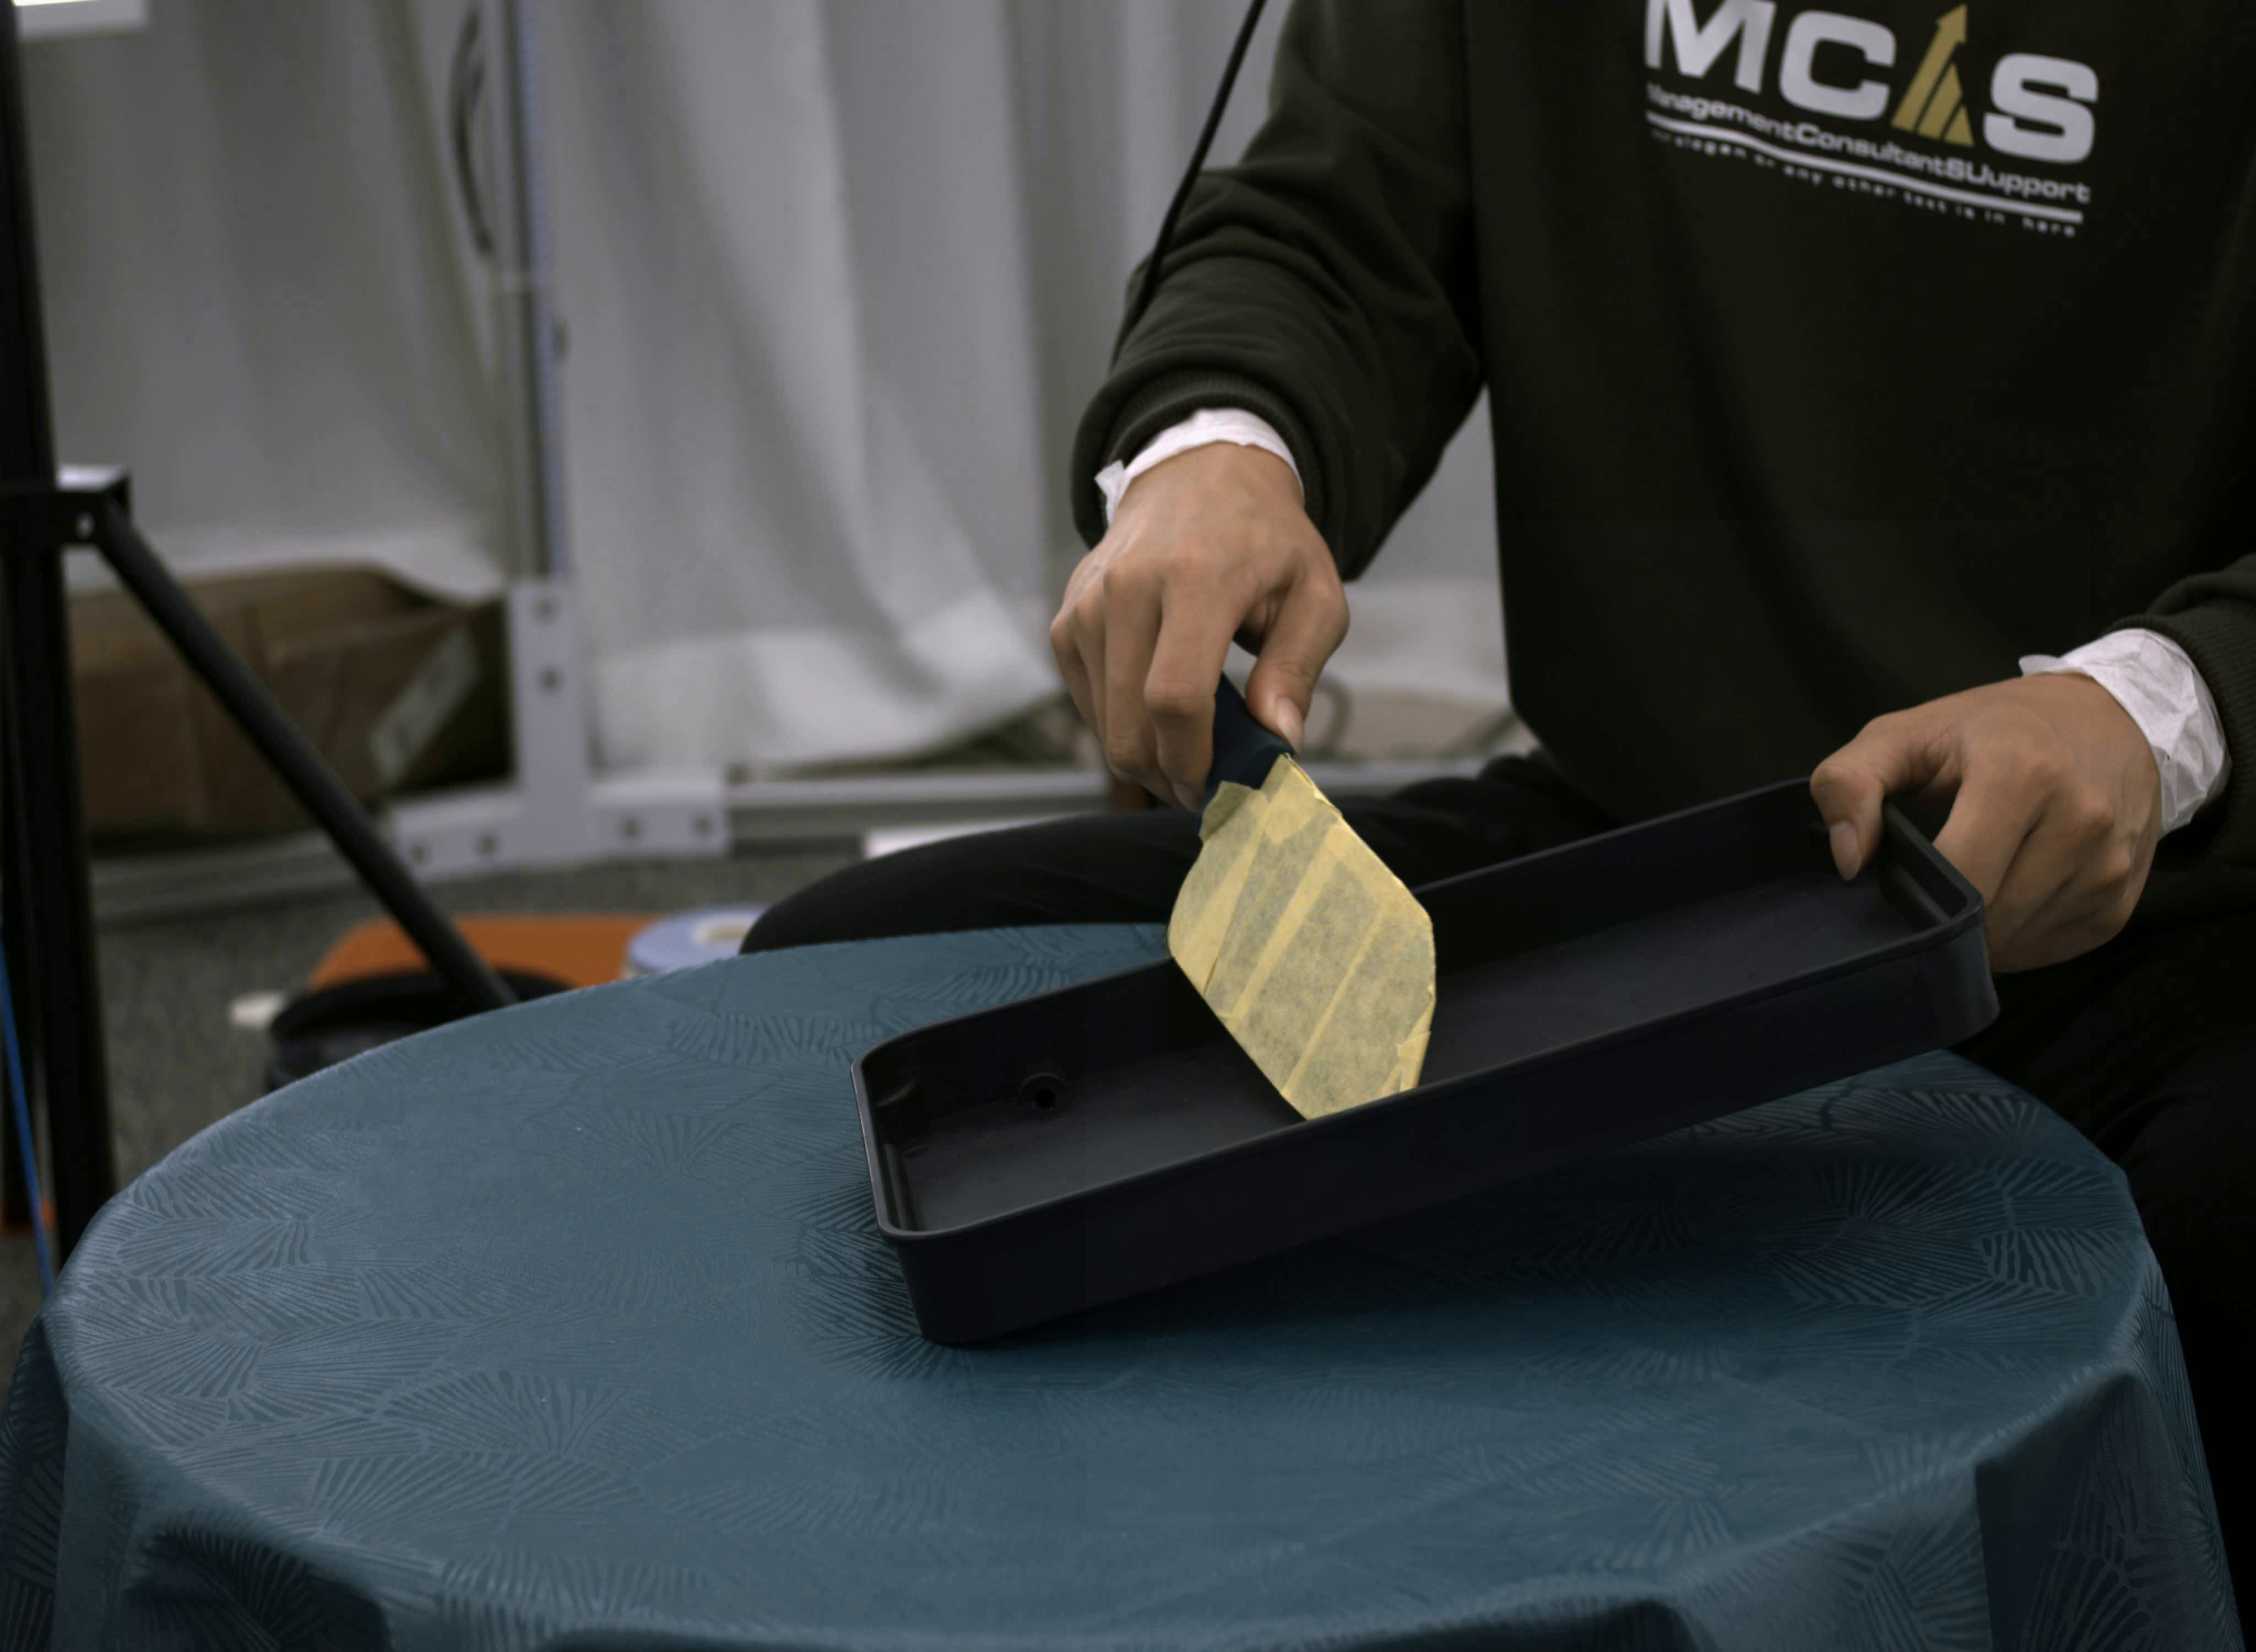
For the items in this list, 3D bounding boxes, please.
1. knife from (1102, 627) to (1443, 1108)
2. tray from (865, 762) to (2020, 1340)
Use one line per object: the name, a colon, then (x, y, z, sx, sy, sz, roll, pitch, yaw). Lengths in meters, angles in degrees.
knife: (0.036, 0.013, 1.585, 0.026, 0.081, 0.294, 26, 16, -27)
tray: (0.086, 0.061, 1.520, 0.316, 0.037, 0.186, -18, 14, -1)
